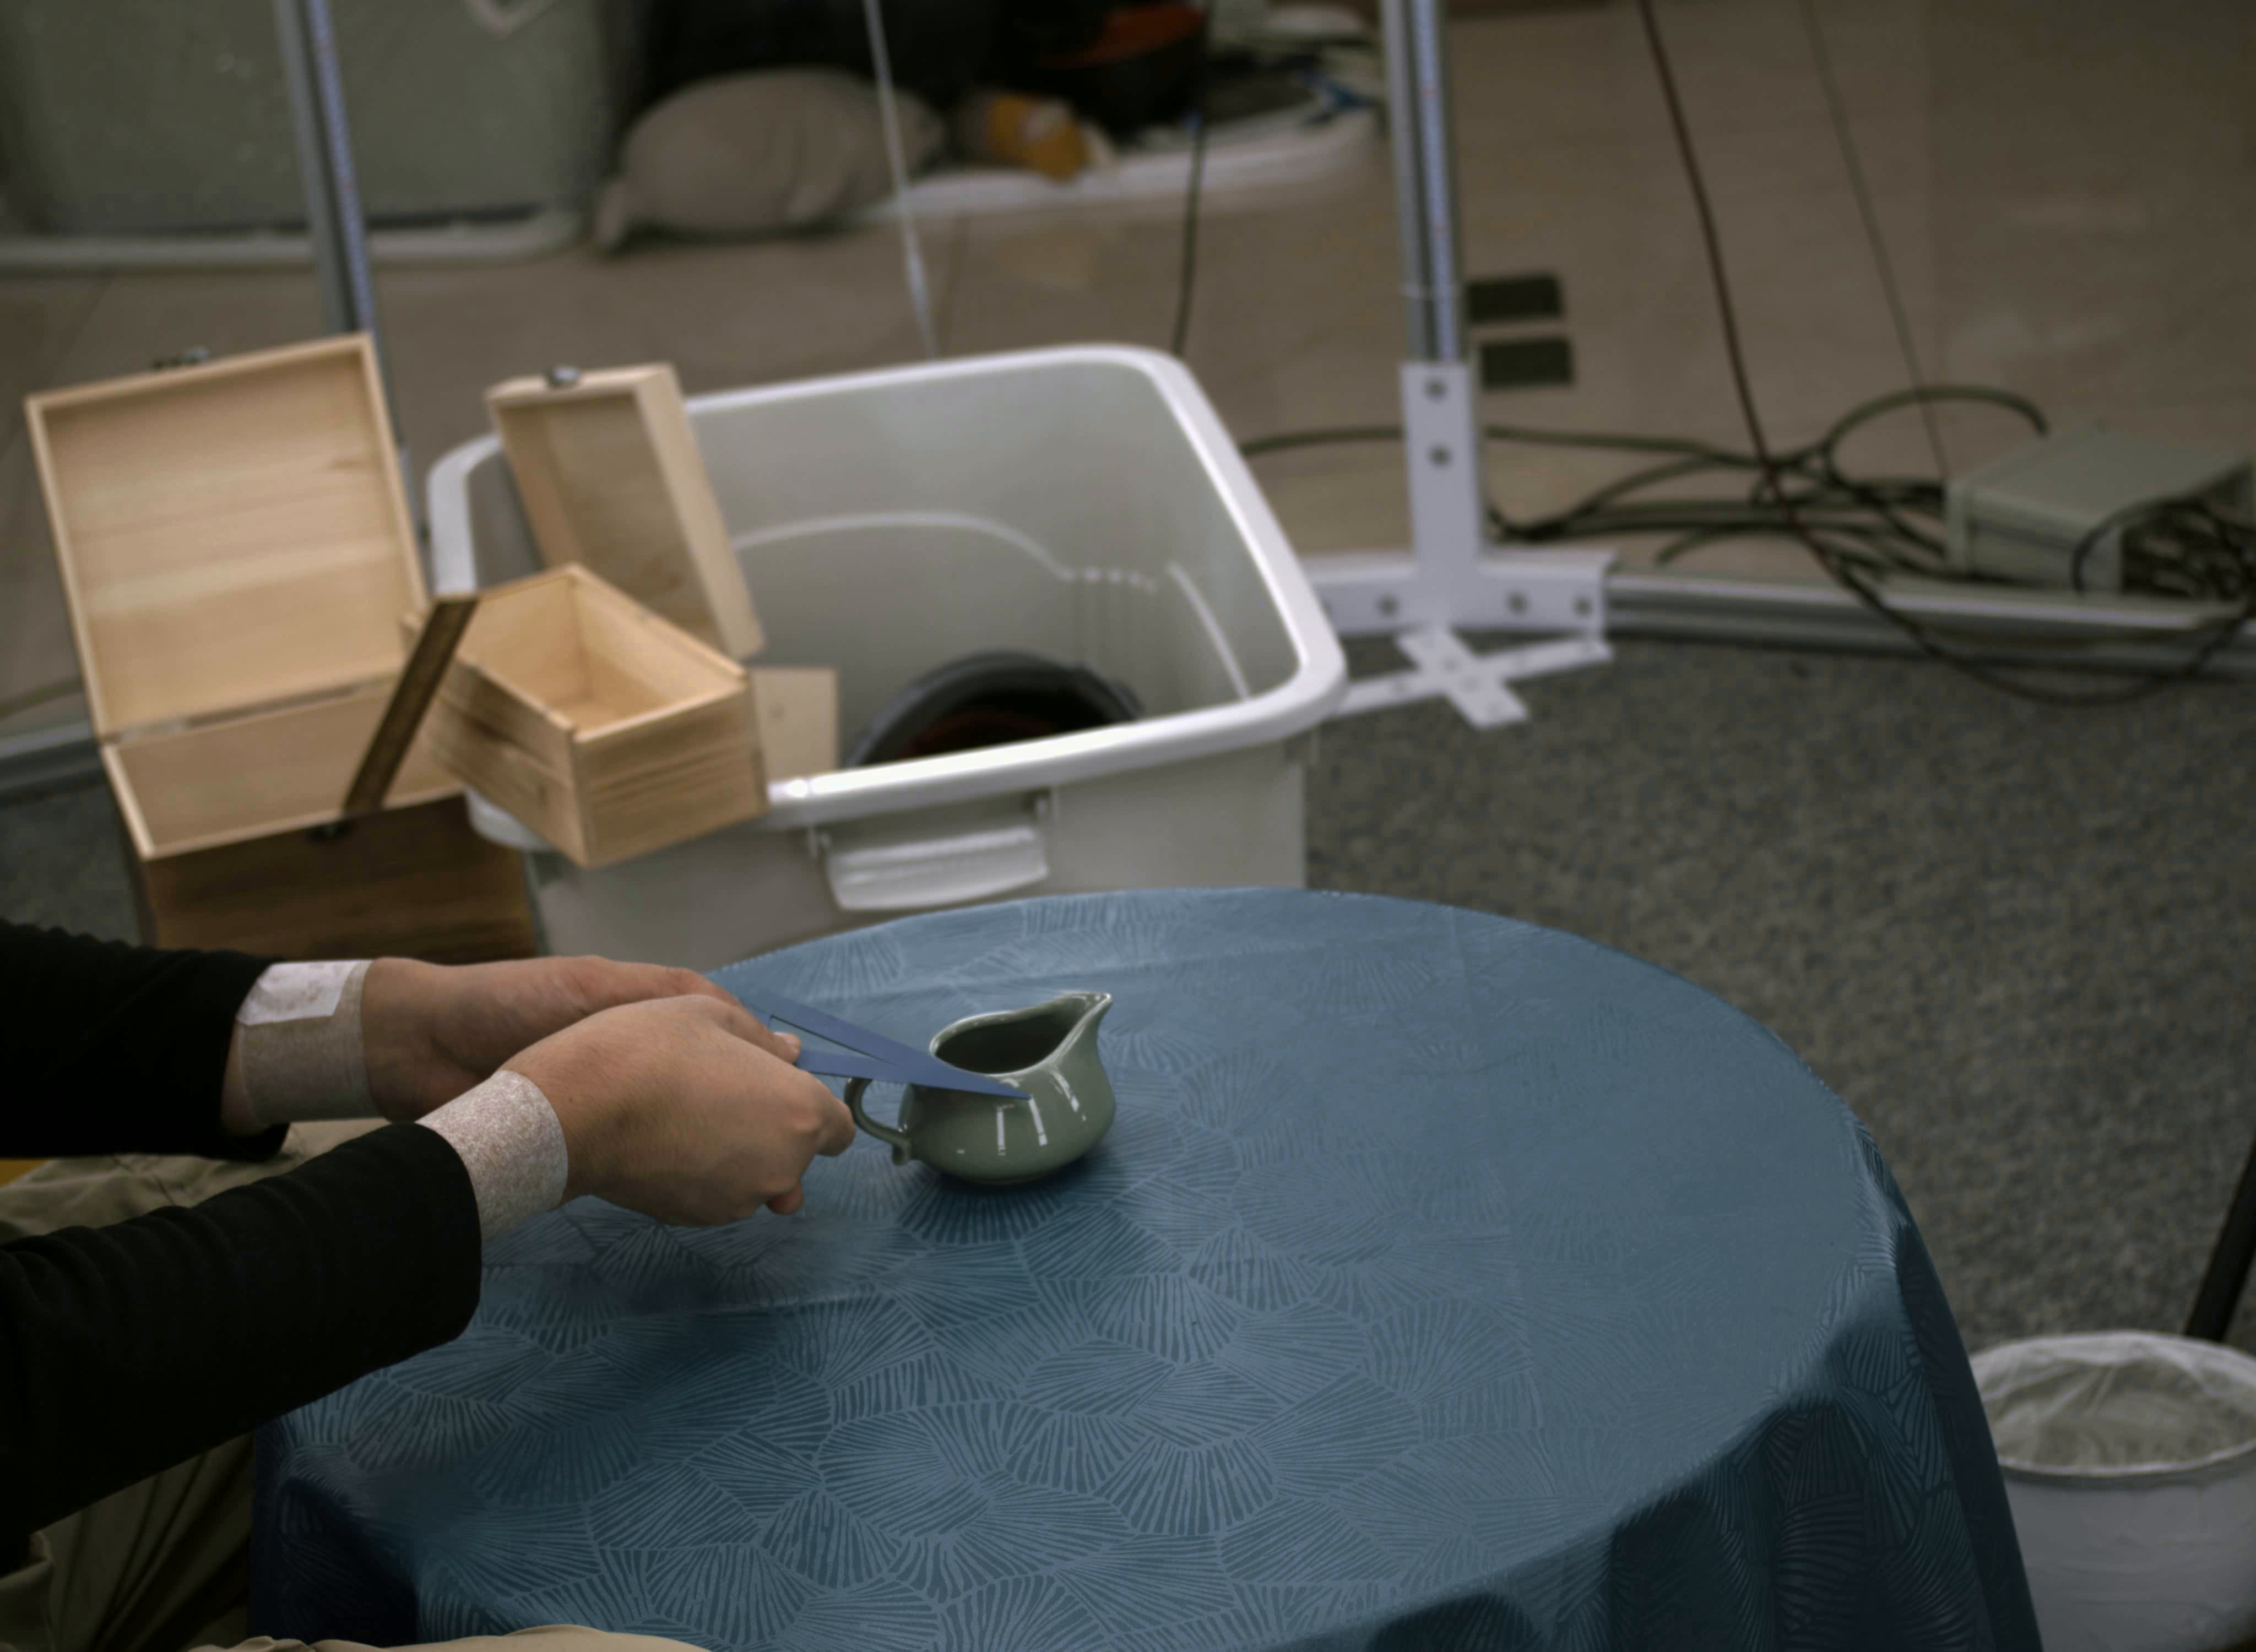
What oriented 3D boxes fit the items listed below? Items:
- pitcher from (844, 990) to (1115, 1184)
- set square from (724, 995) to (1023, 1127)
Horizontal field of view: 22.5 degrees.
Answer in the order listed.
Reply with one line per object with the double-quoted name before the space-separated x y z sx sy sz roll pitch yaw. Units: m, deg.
"pitcher" -0.054 0.102 2.172 0.112 0.057 0.083 -16 25 -20
"set square" -0.105 0.093 2.129 0.131 0.006 0.060 23 27 29
